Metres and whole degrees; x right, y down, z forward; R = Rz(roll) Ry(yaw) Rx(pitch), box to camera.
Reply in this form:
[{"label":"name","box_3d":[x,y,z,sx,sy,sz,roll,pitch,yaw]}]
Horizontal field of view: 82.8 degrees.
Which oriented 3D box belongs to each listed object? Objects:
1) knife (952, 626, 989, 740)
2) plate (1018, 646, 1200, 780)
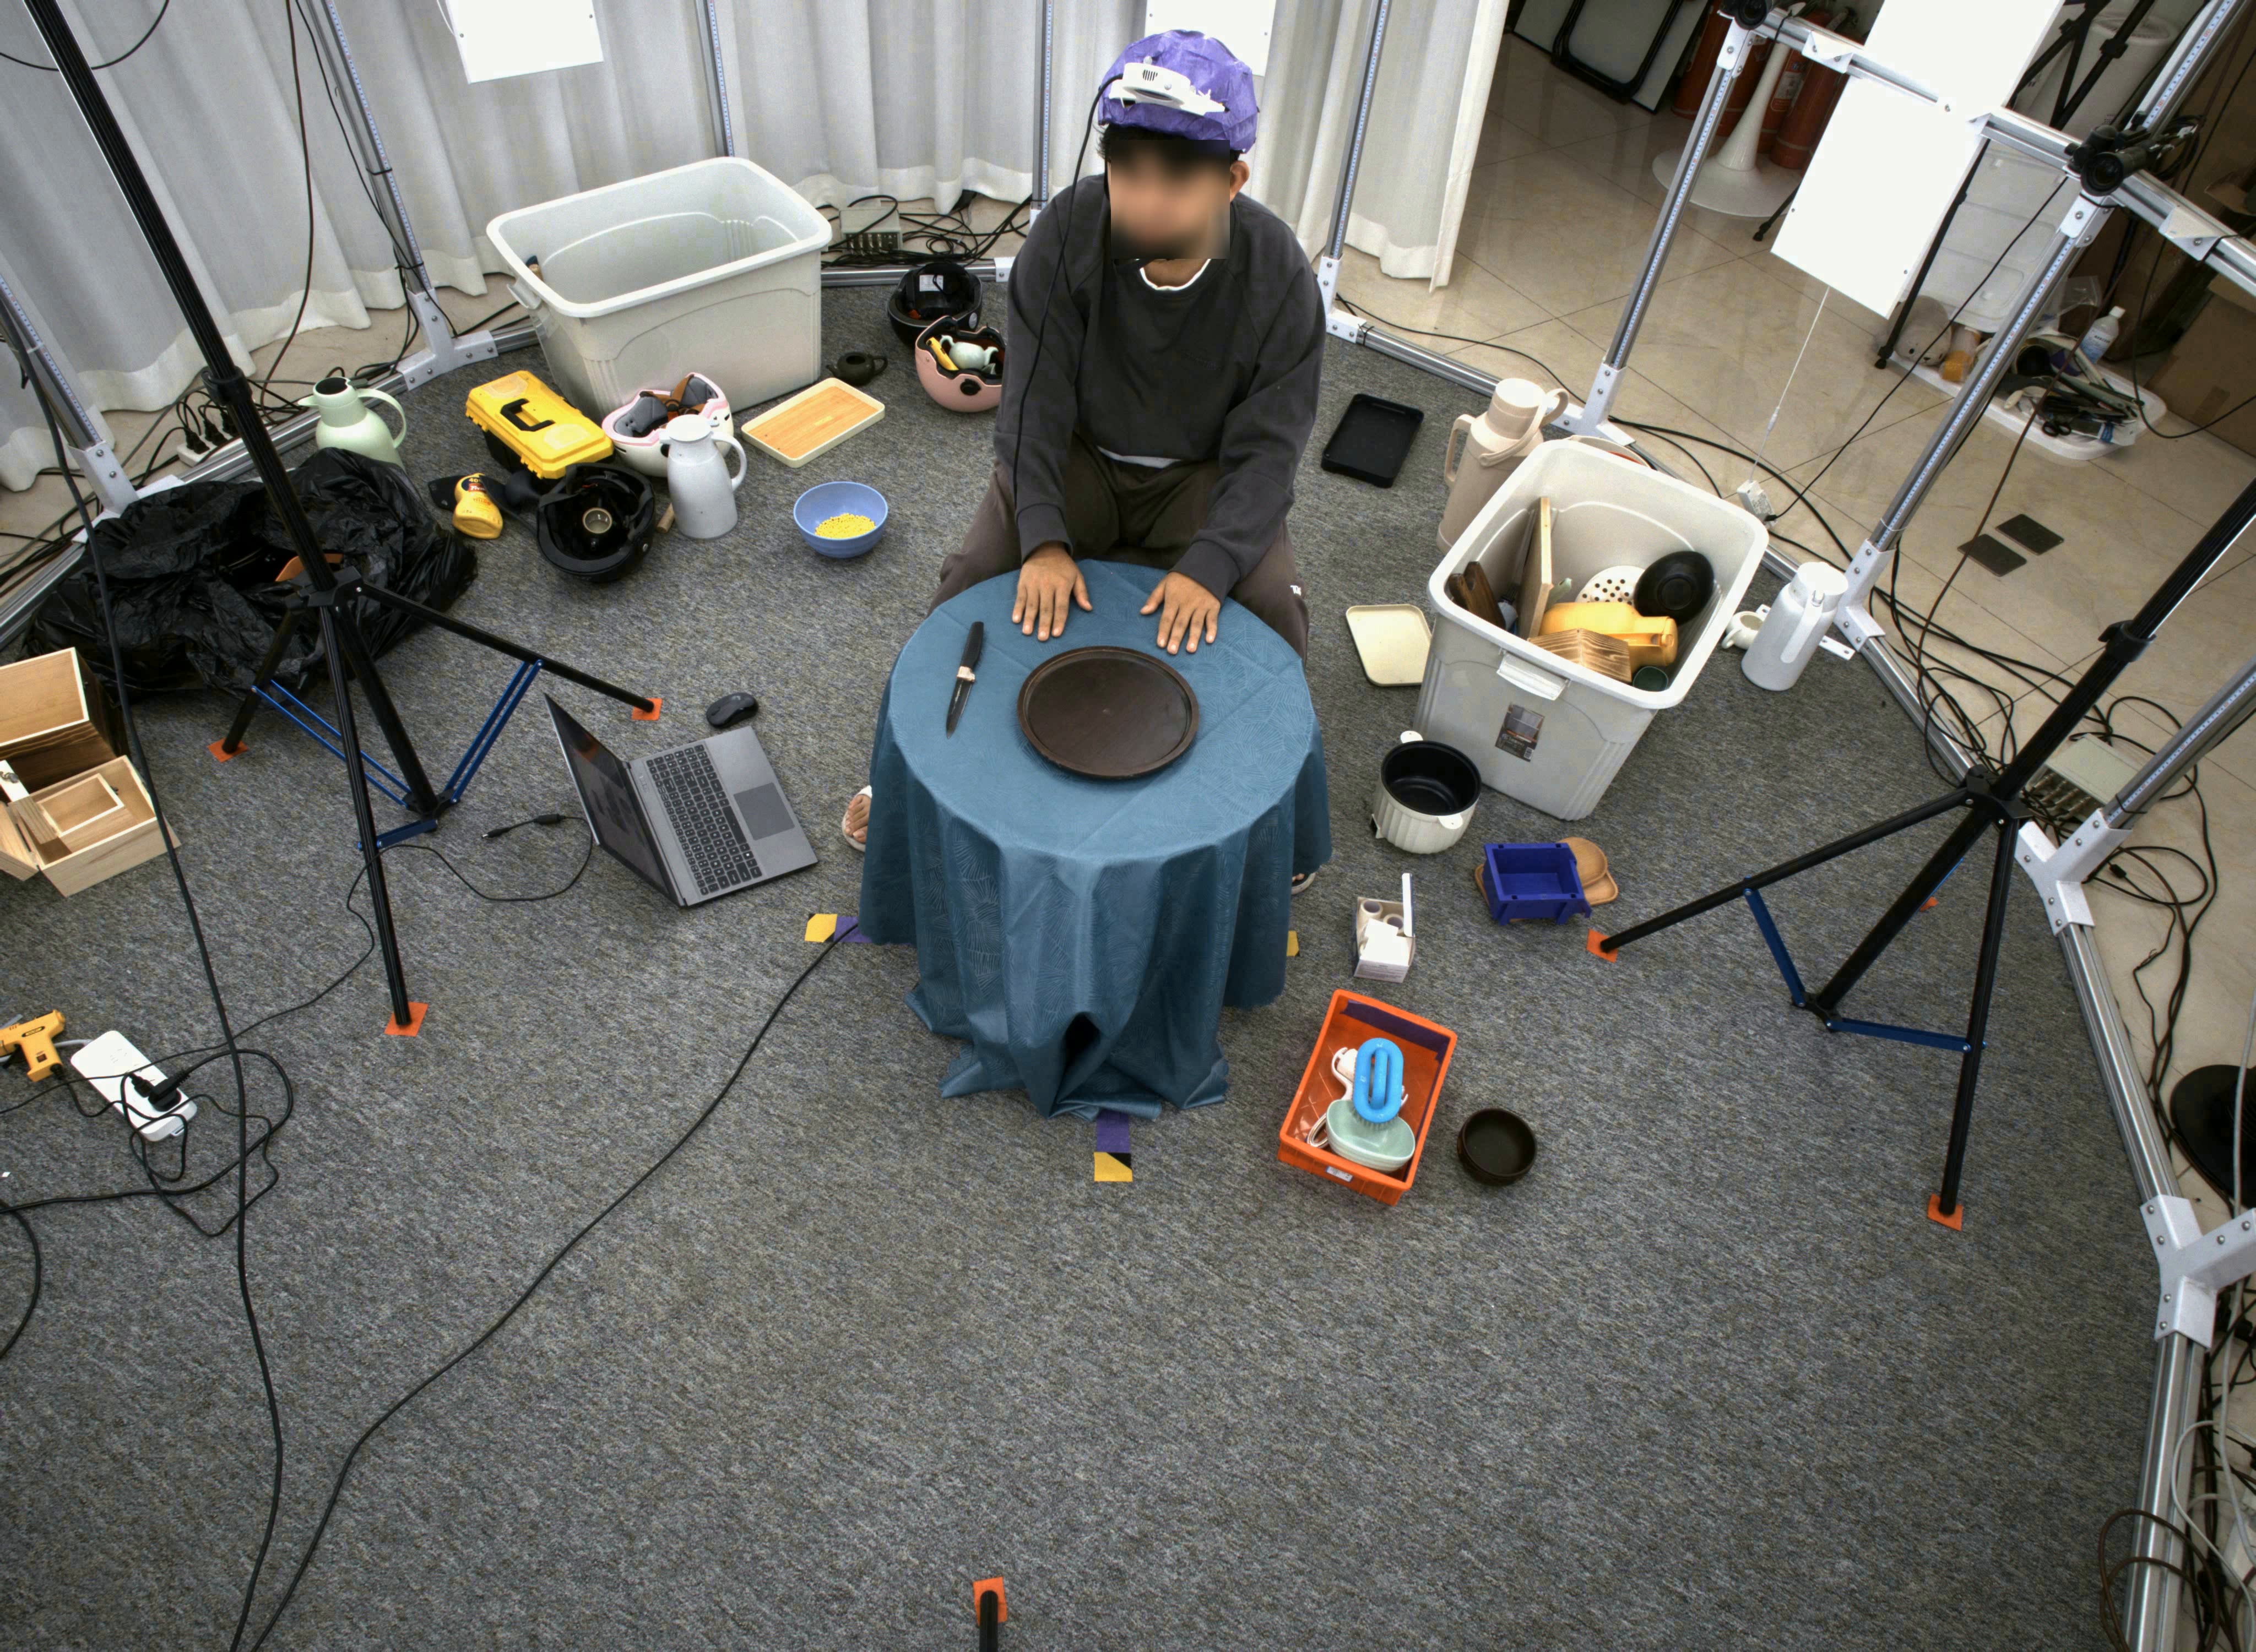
[{"label":"knife","box_3d":[-0.226,-0.205,1.819,0.026,0.017,0.231,11,50,-2]},{"label":"plate","box_3d":[-0.027,-0.159,1.787,0.254,0.028,0.261,1,48,-2]}]
